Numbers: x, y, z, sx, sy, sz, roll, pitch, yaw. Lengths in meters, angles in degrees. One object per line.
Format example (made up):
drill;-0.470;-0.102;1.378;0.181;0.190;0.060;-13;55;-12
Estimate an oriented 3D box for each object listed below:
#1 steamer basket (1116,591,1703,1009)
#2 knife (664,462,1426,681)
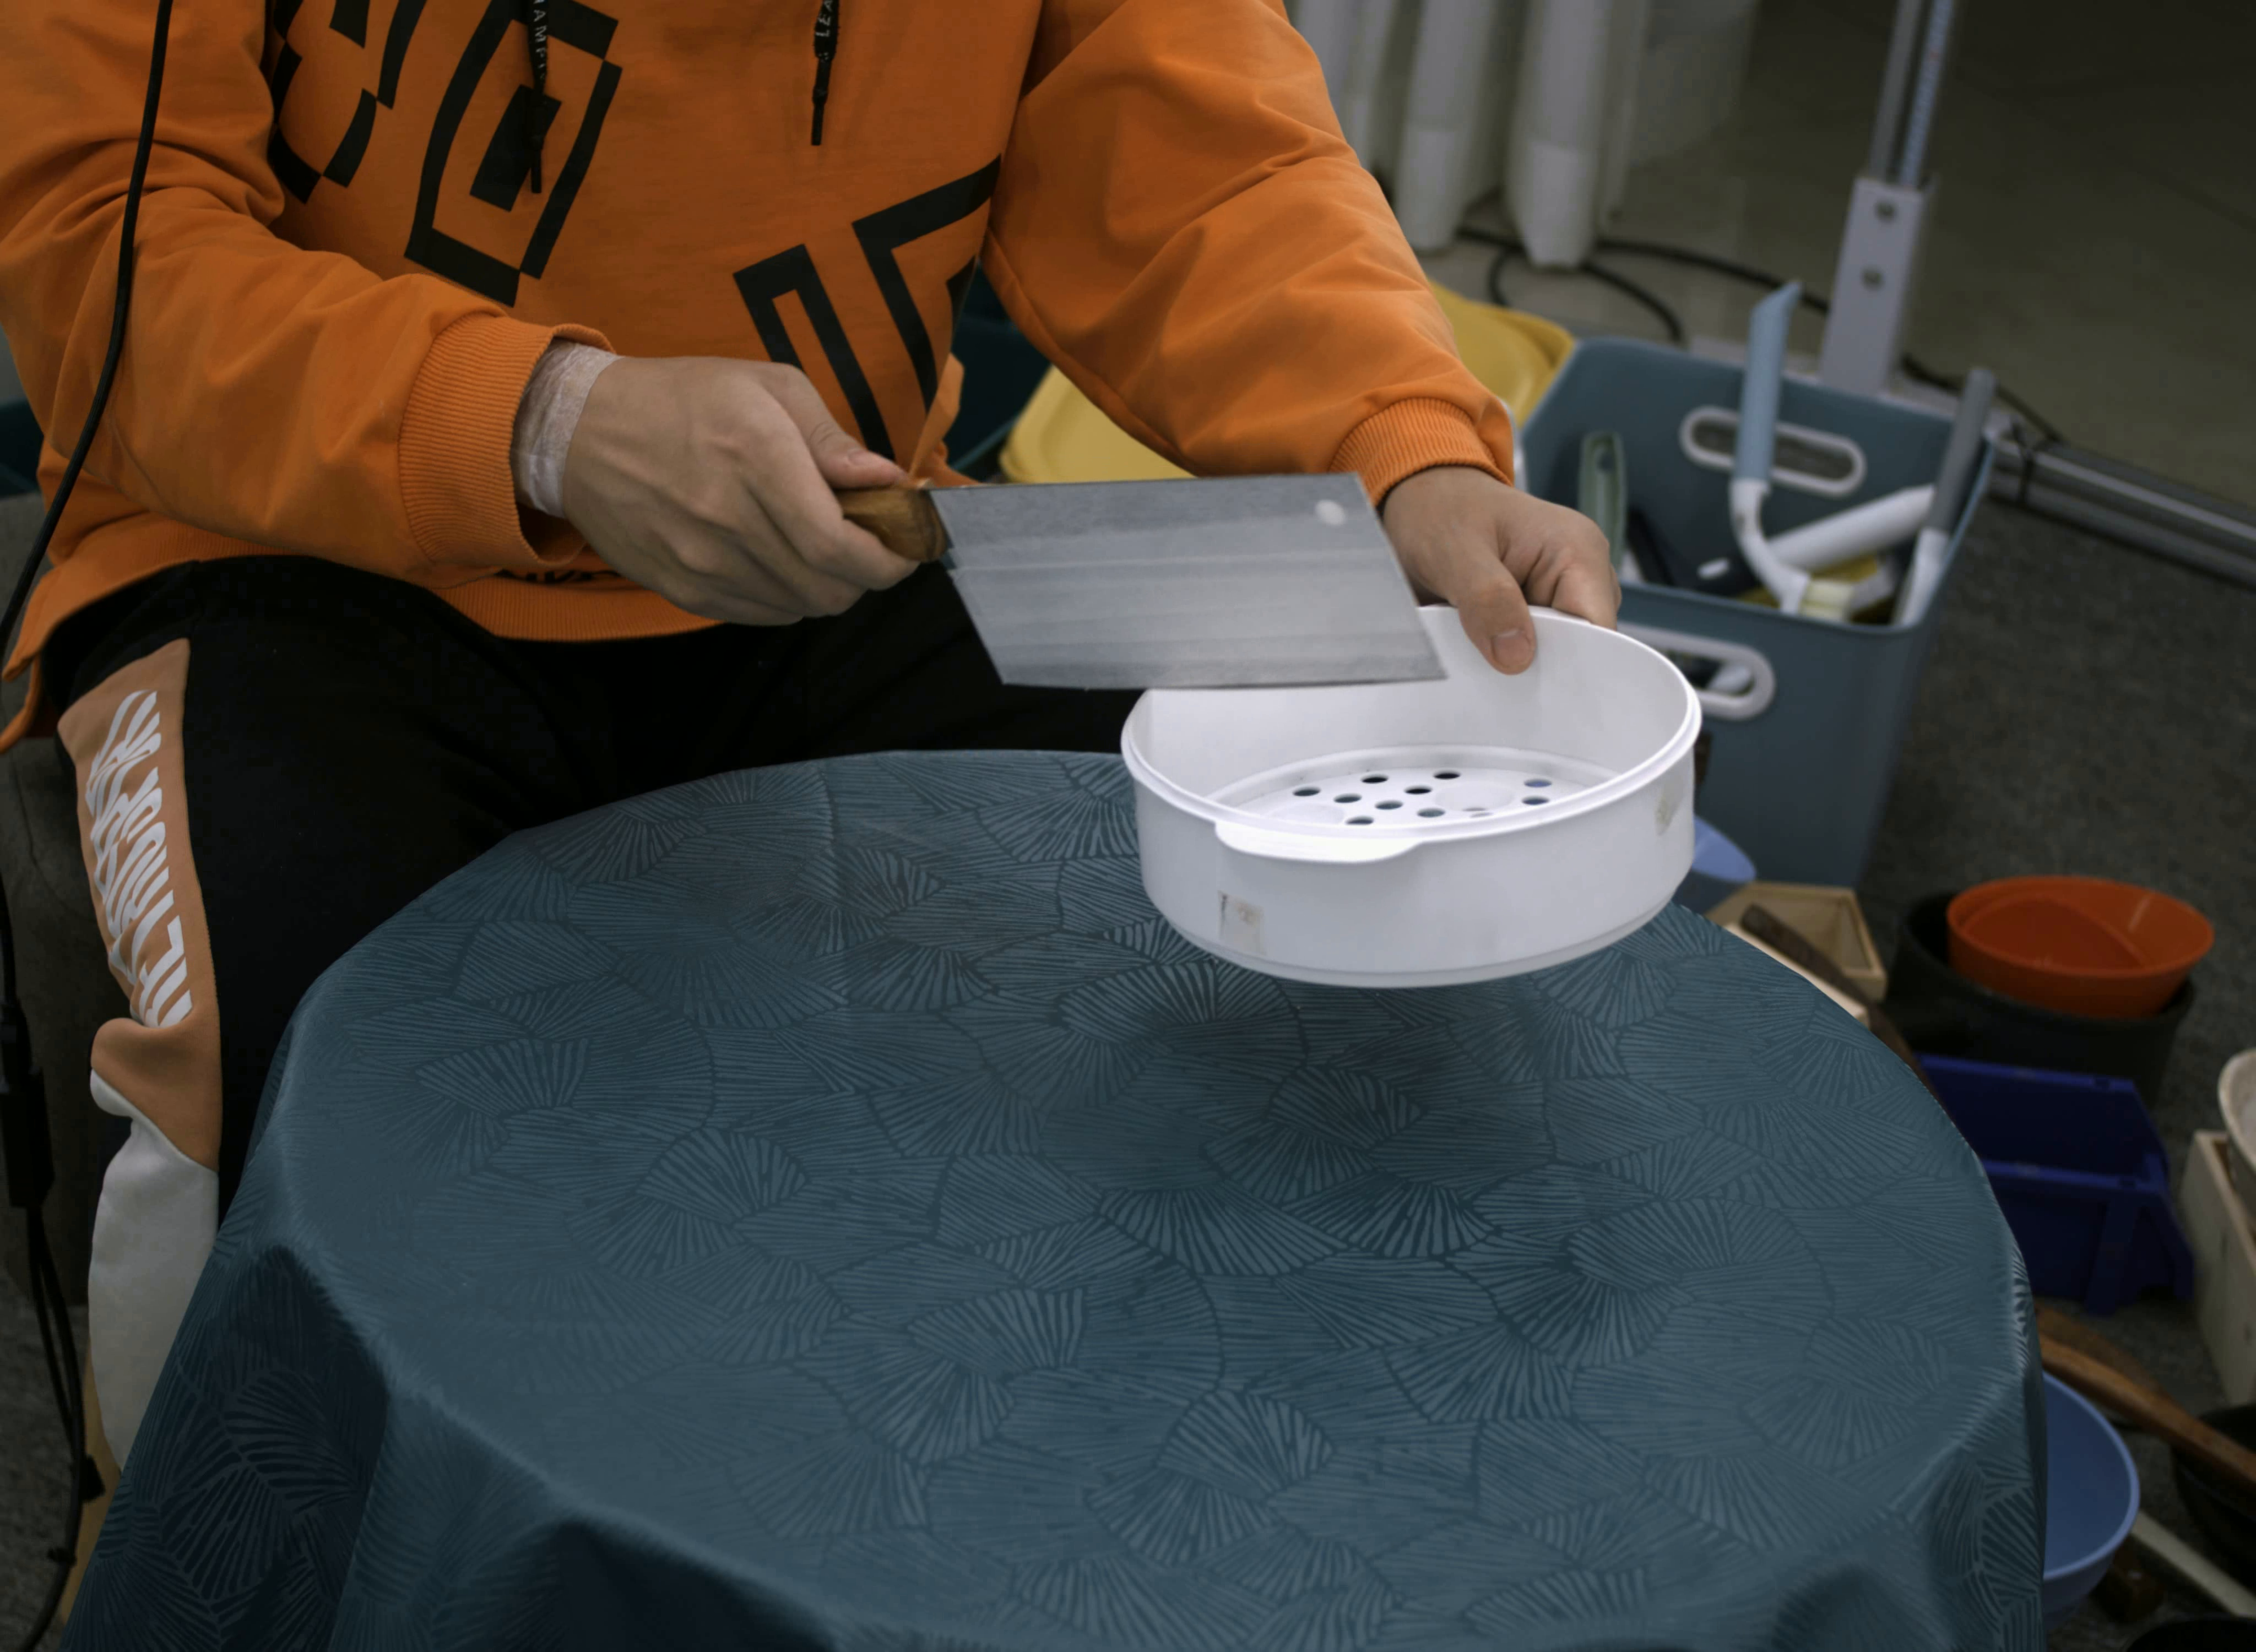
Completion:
steamer basket;0.098;-0.008;1.841;0.202;0.069;0.231;6;29;20
knife;-0.030;-0.087;1.862;0.307;0.092;0.021;0;41;37
